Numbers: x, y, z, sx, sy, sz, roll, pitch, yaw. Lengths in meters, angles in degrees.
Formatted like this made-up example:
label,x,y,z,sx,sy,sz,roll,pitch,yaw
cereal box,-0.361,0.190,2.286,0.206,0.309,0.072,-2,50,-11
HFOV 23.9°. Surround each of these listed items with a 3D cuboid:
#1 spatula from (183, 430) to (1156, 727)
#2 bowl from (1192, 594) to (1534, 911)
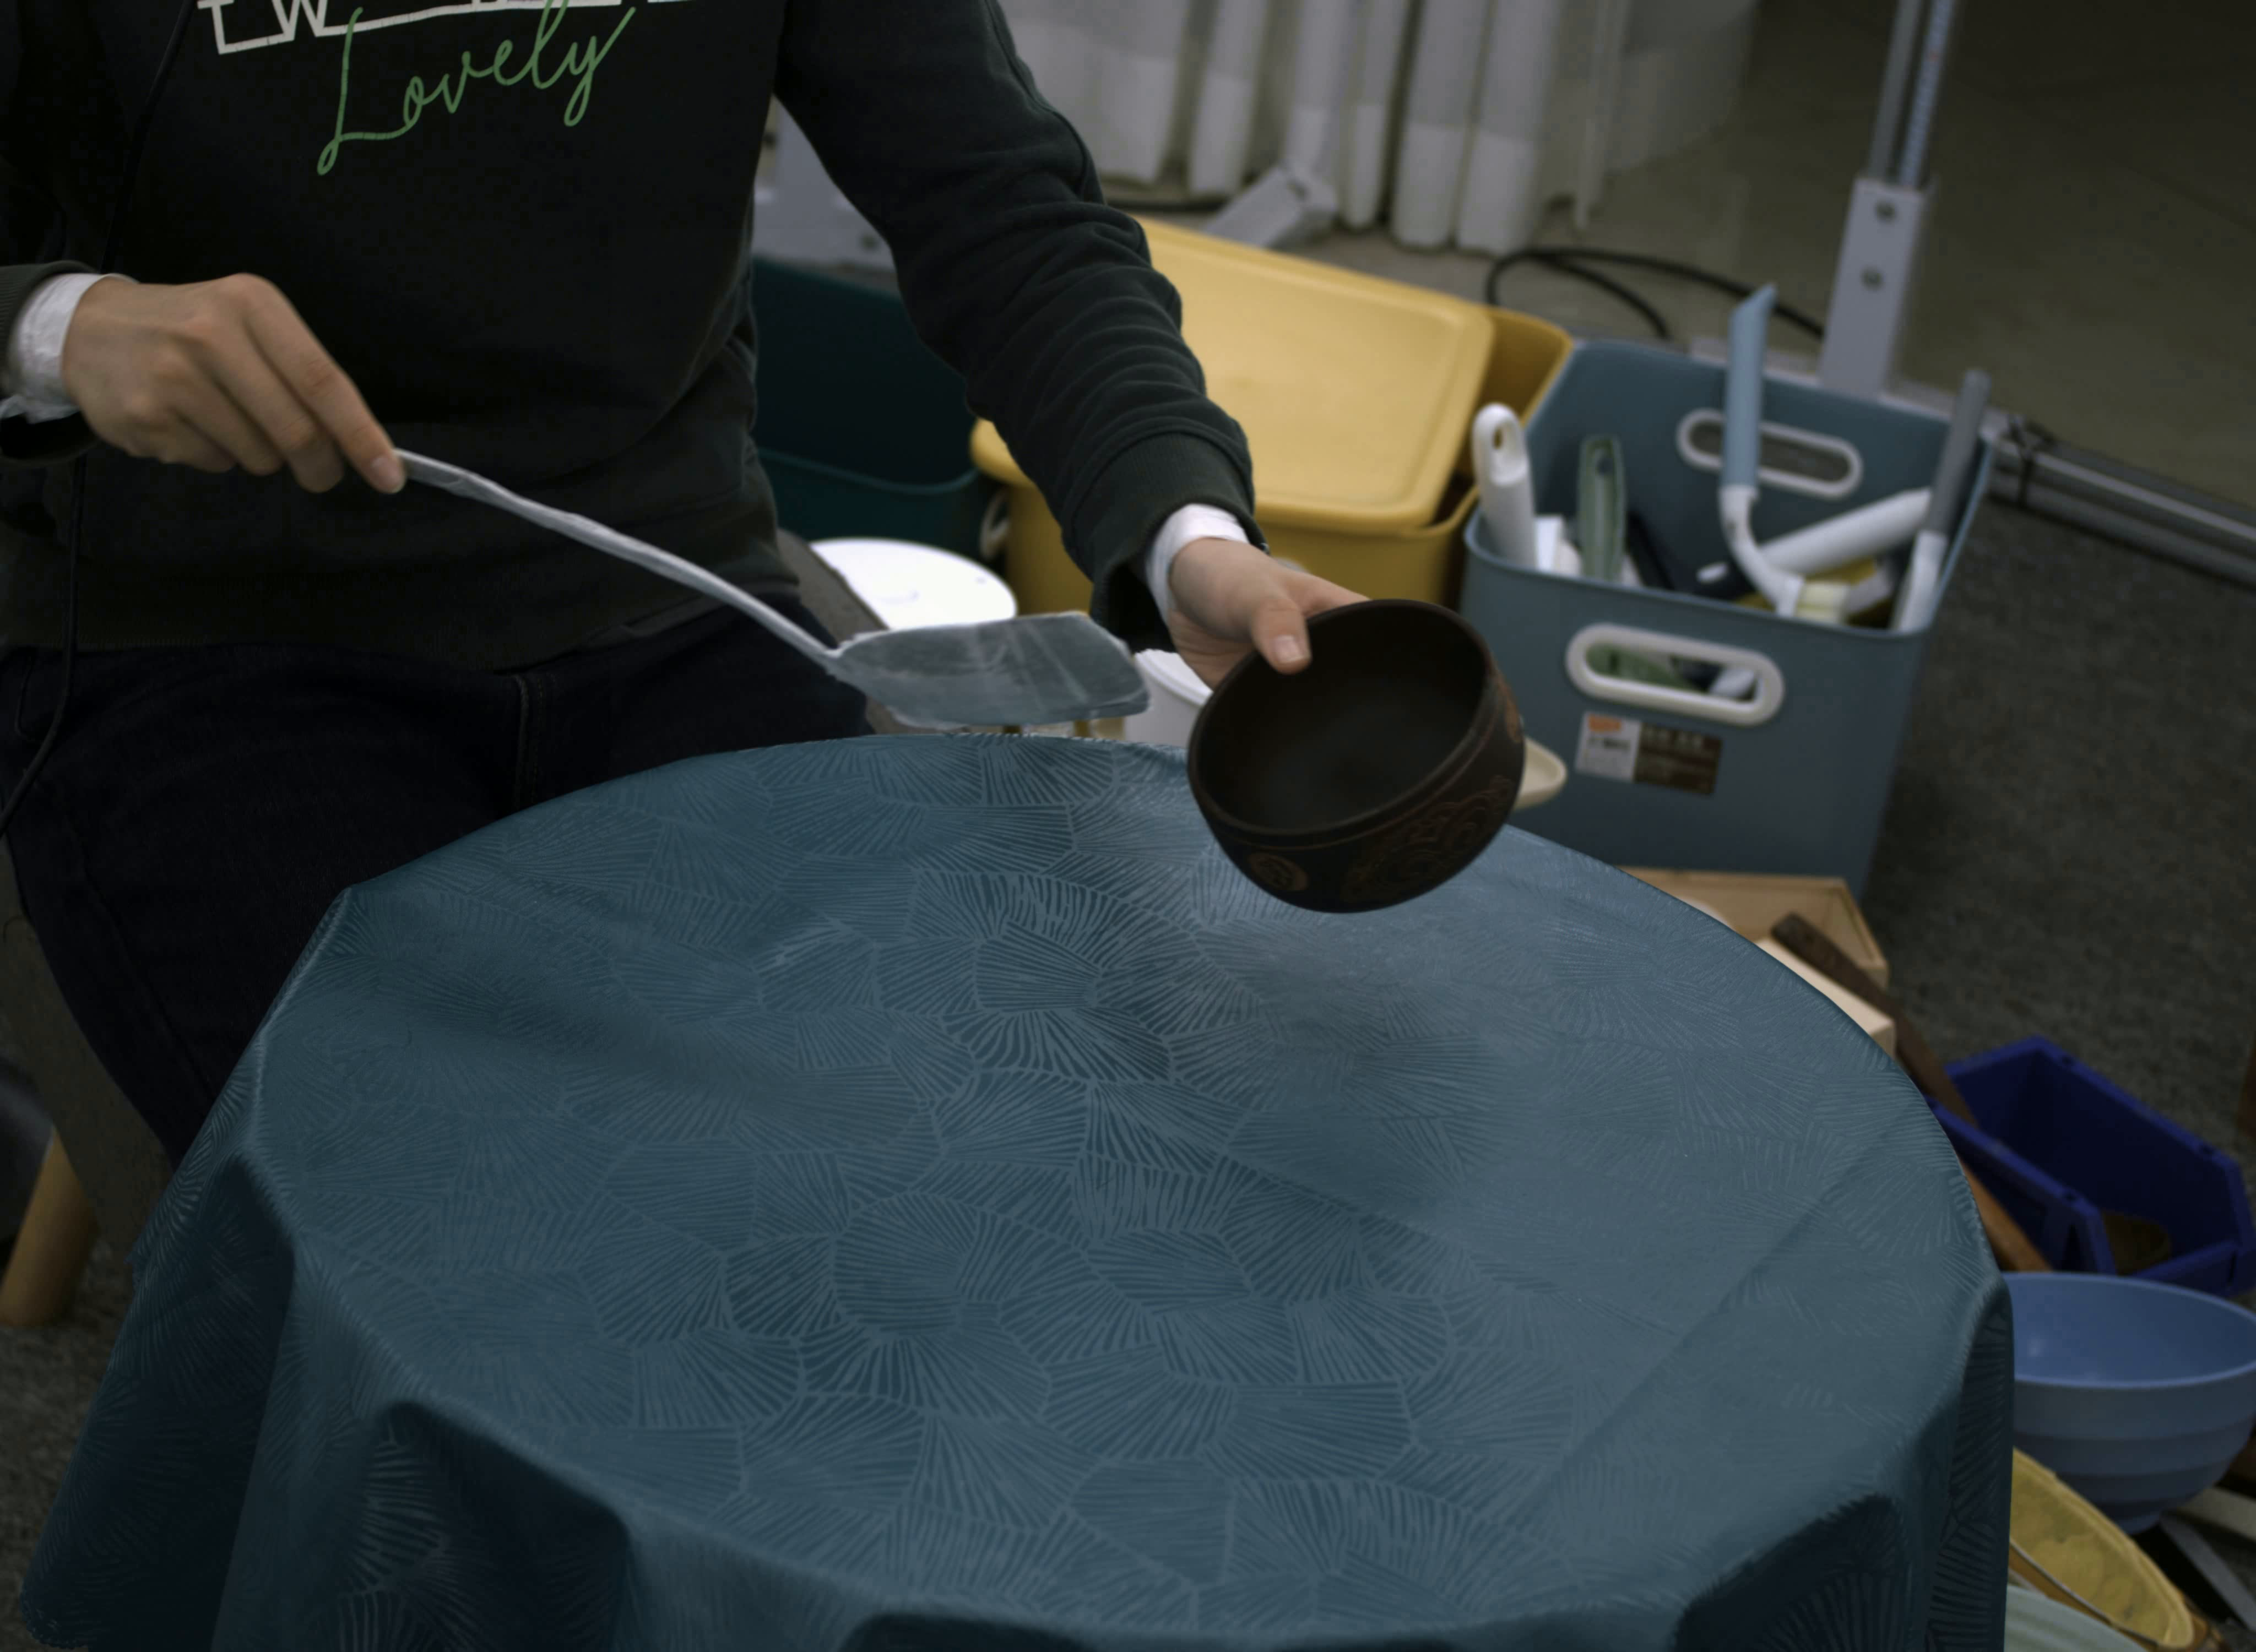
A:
label,x,y,z,sx,sy,sz,roll,pitch,yaw
spatula,-0.164,-0.092,1.796,0.366,0.045,0.098,21,-11,20
bowl,0.088,-0.017,1.870,0.118,0.069,0.119,-17,39,14
